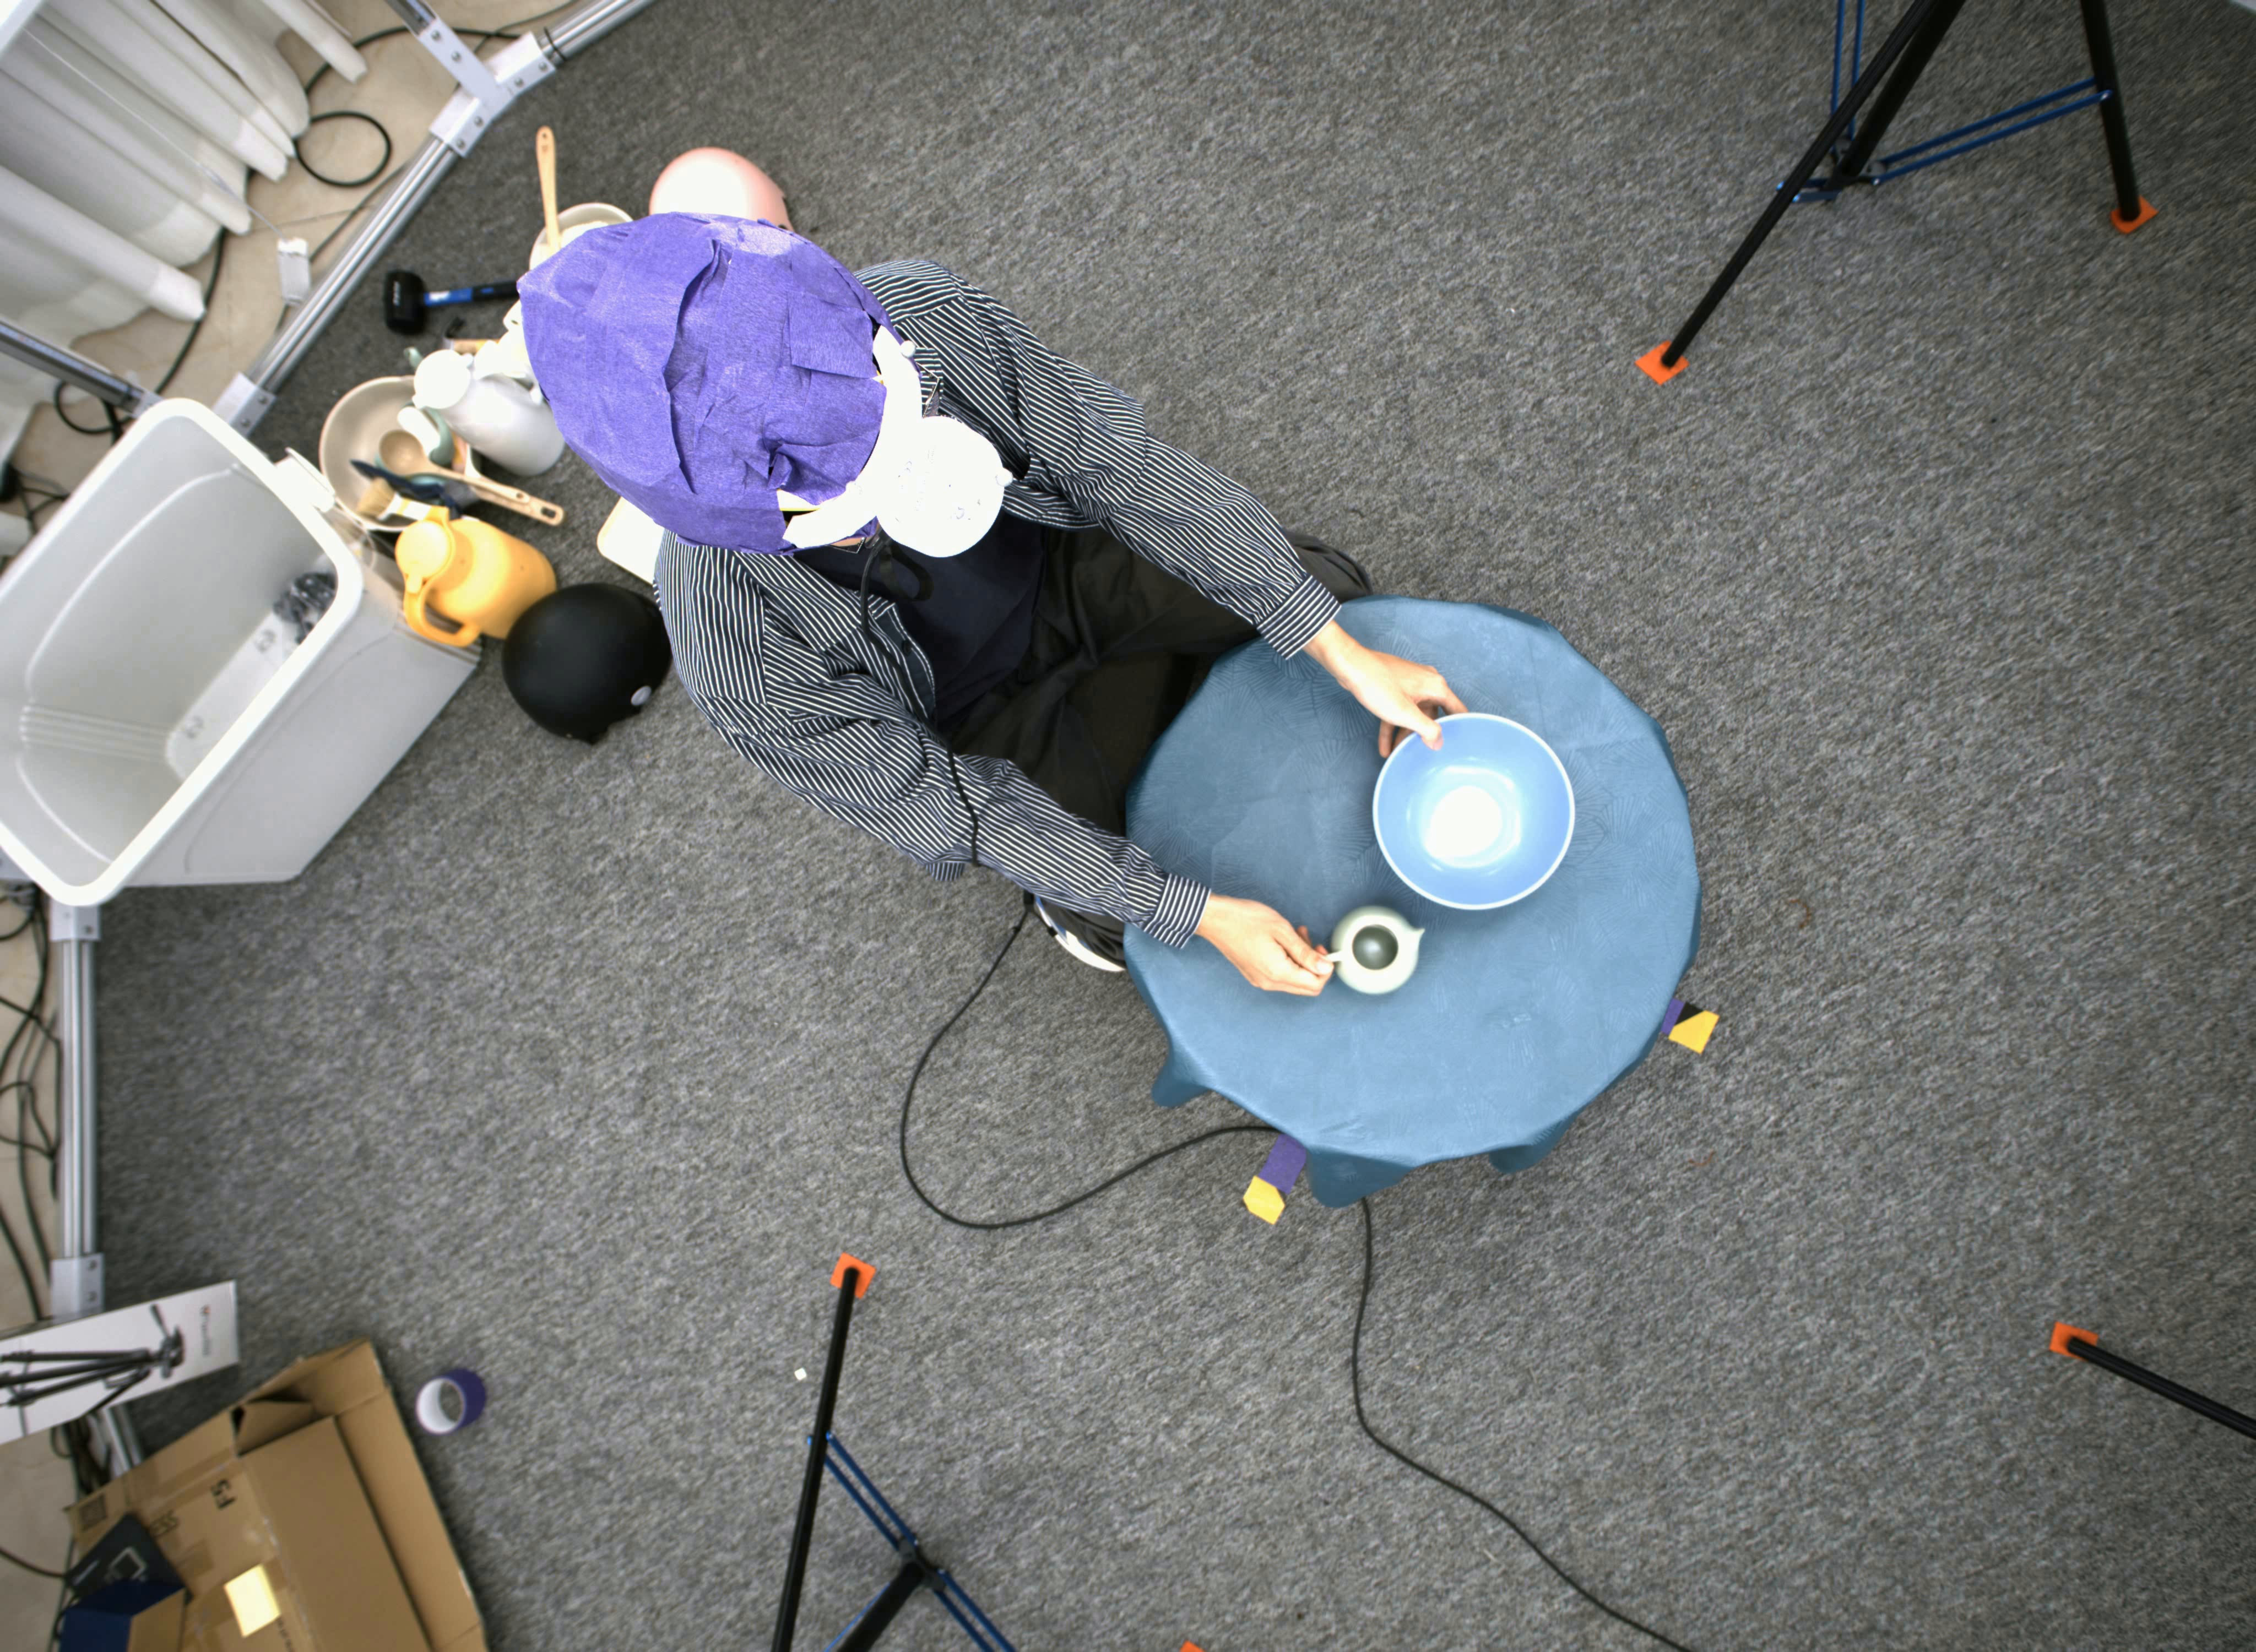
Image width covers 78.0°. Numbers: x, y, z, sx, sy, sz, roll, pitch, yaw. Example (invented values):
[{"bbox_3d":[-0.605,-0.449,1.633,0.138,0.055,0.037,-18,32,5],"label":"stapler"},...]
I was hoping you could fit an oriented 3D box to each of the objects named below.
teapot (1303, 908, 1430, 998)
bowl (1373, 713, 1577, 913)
[{"bbox_3d":[0.242,0.130,1.413,0.129,0.061,0.091,-10,82,5],"label":"teapot"},{"bbox_3d":[0.346,-0.011,1.390,0.197,0.095,0.196,-1,87,9],"label":"bowl"}]
